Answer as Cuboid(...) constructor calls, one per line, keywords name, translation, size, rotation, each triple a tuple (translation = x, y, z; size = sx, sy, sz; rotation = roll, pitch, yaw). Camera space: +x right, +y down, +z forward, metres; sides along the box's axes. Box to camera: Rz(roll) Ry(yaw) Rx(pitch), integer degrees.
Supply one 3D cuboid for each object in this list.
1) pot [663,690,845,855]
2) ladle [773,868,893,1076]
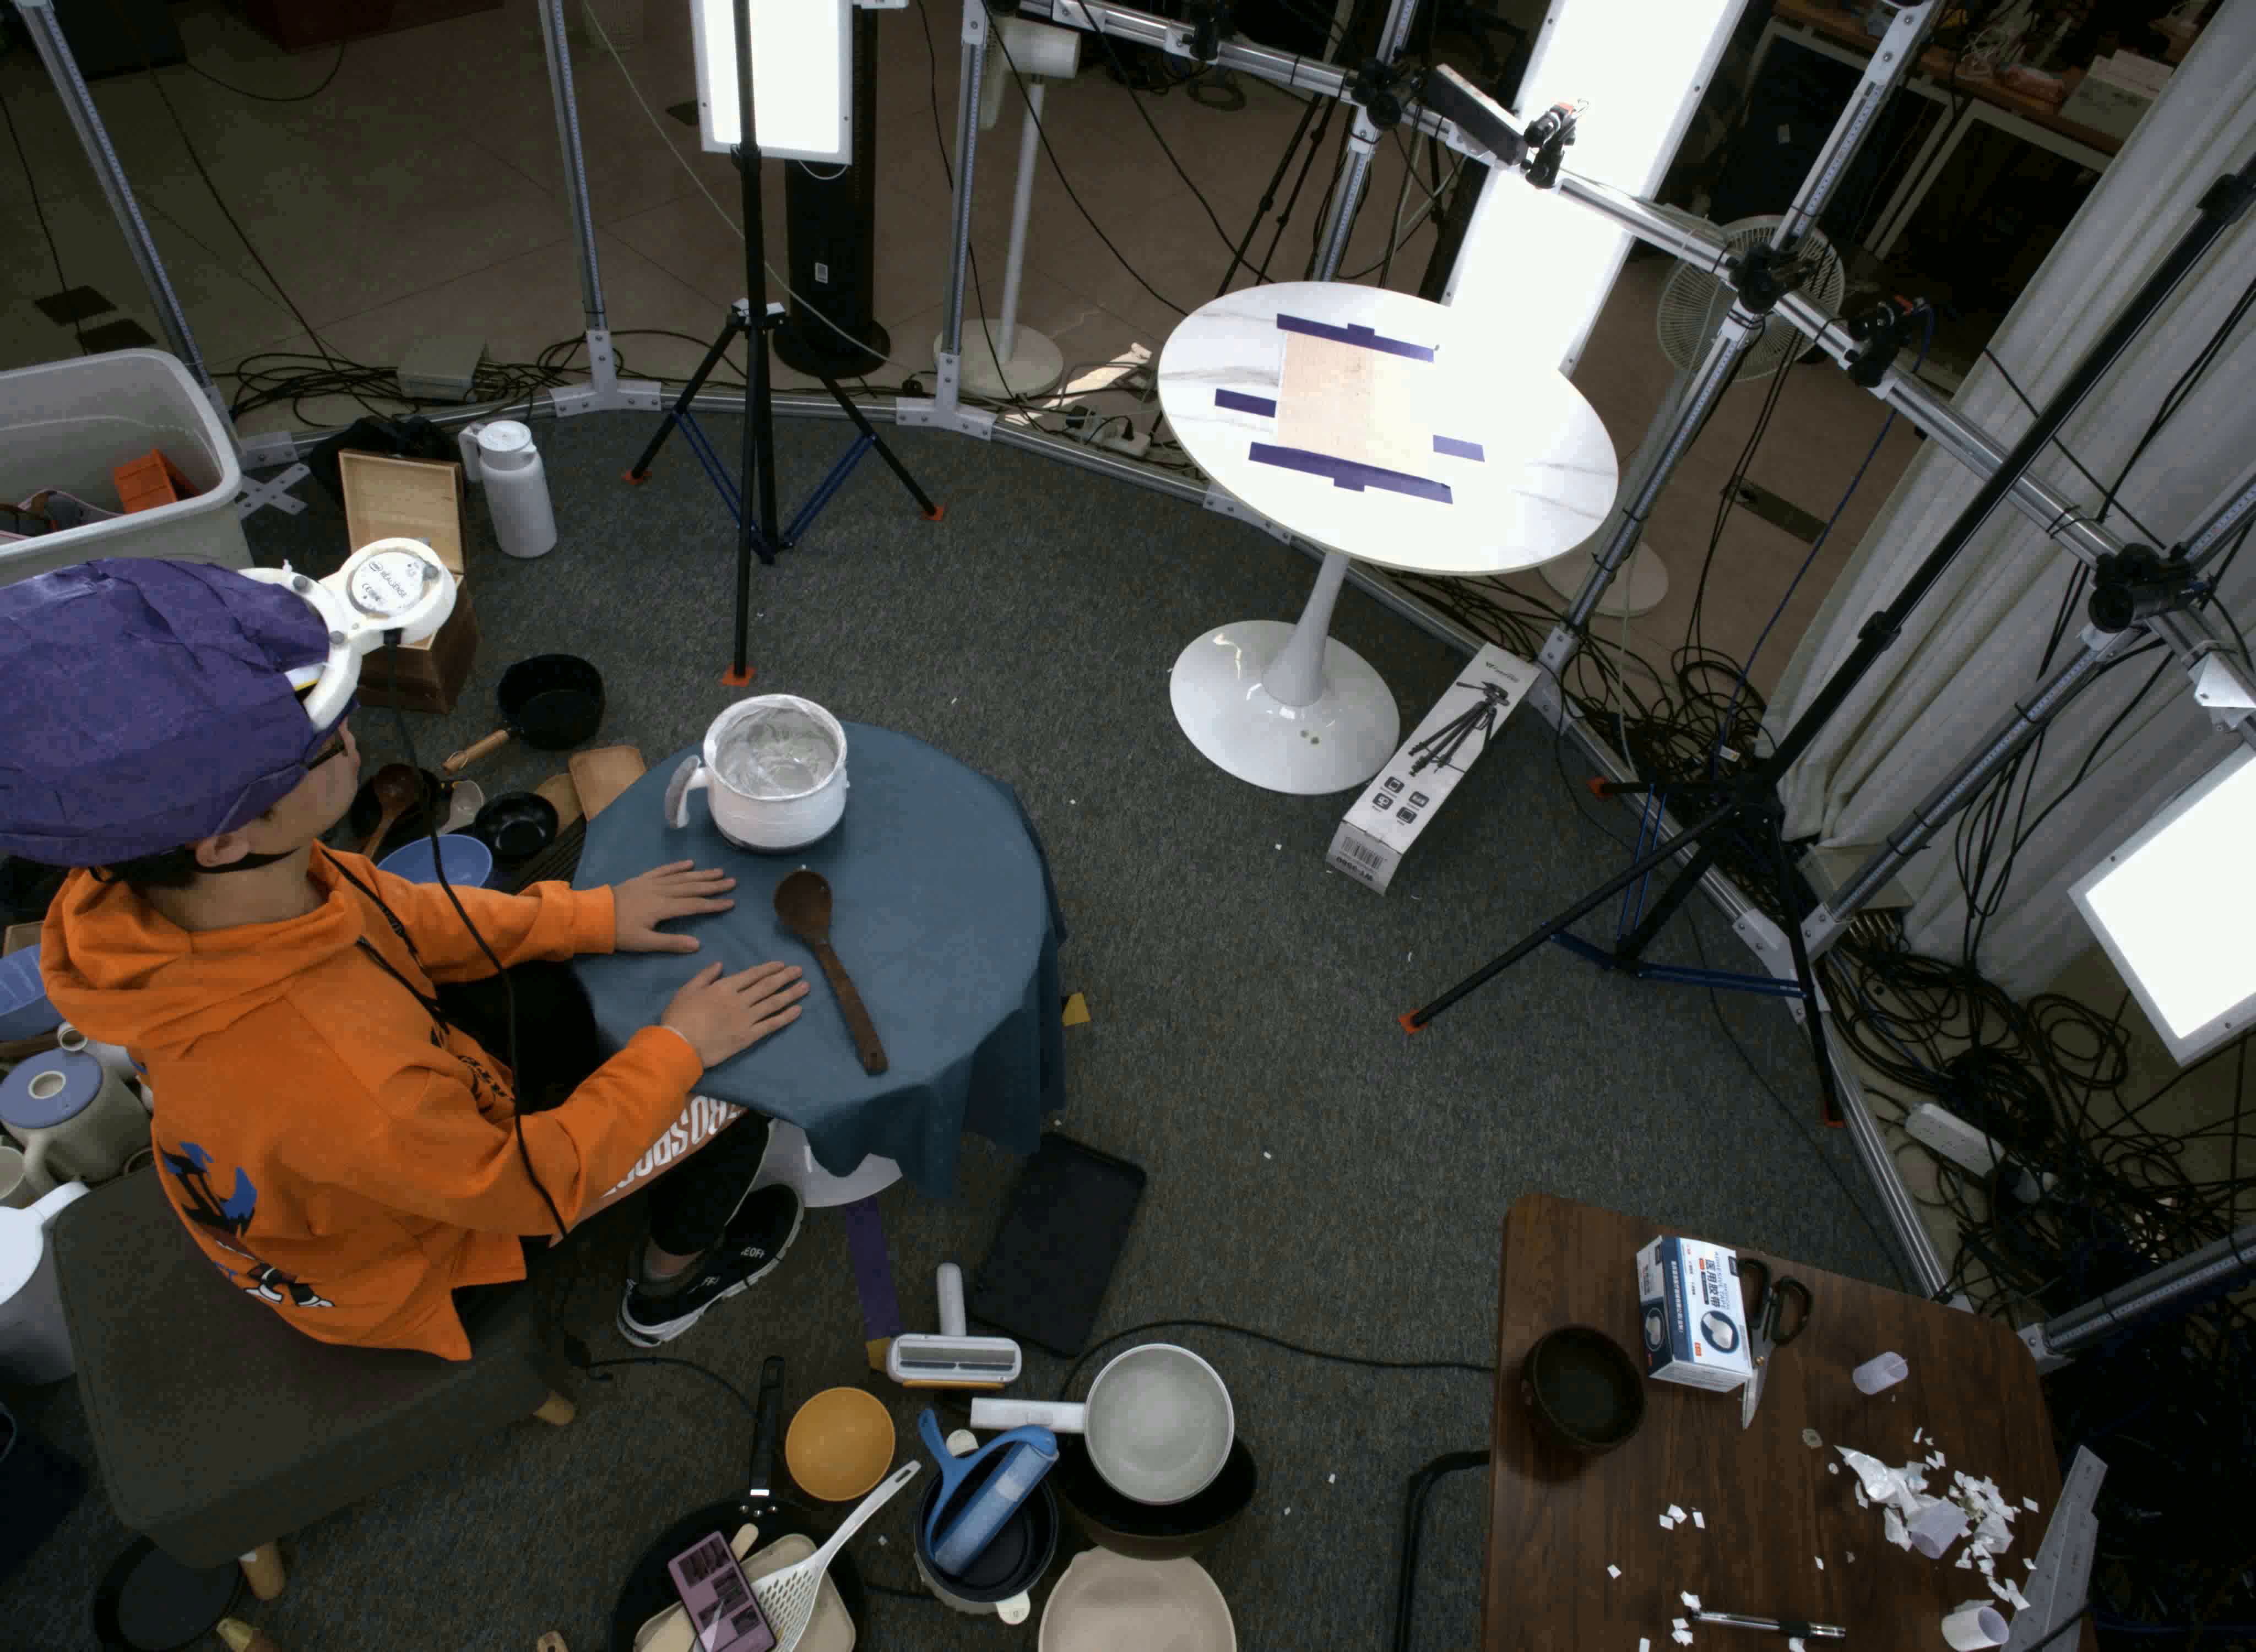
Cuboid(name="pot", translation=(-0.479, -0.058, 1.653), size=(0.235, 0.139, 0.174), rotation=(-14, 57, -24))
Cuboid(name="ladle", translation=(-0.350, 0.168, 1.562), size=(0.076, 0.073, 0.267), rotation=(-21, 61, -24))
